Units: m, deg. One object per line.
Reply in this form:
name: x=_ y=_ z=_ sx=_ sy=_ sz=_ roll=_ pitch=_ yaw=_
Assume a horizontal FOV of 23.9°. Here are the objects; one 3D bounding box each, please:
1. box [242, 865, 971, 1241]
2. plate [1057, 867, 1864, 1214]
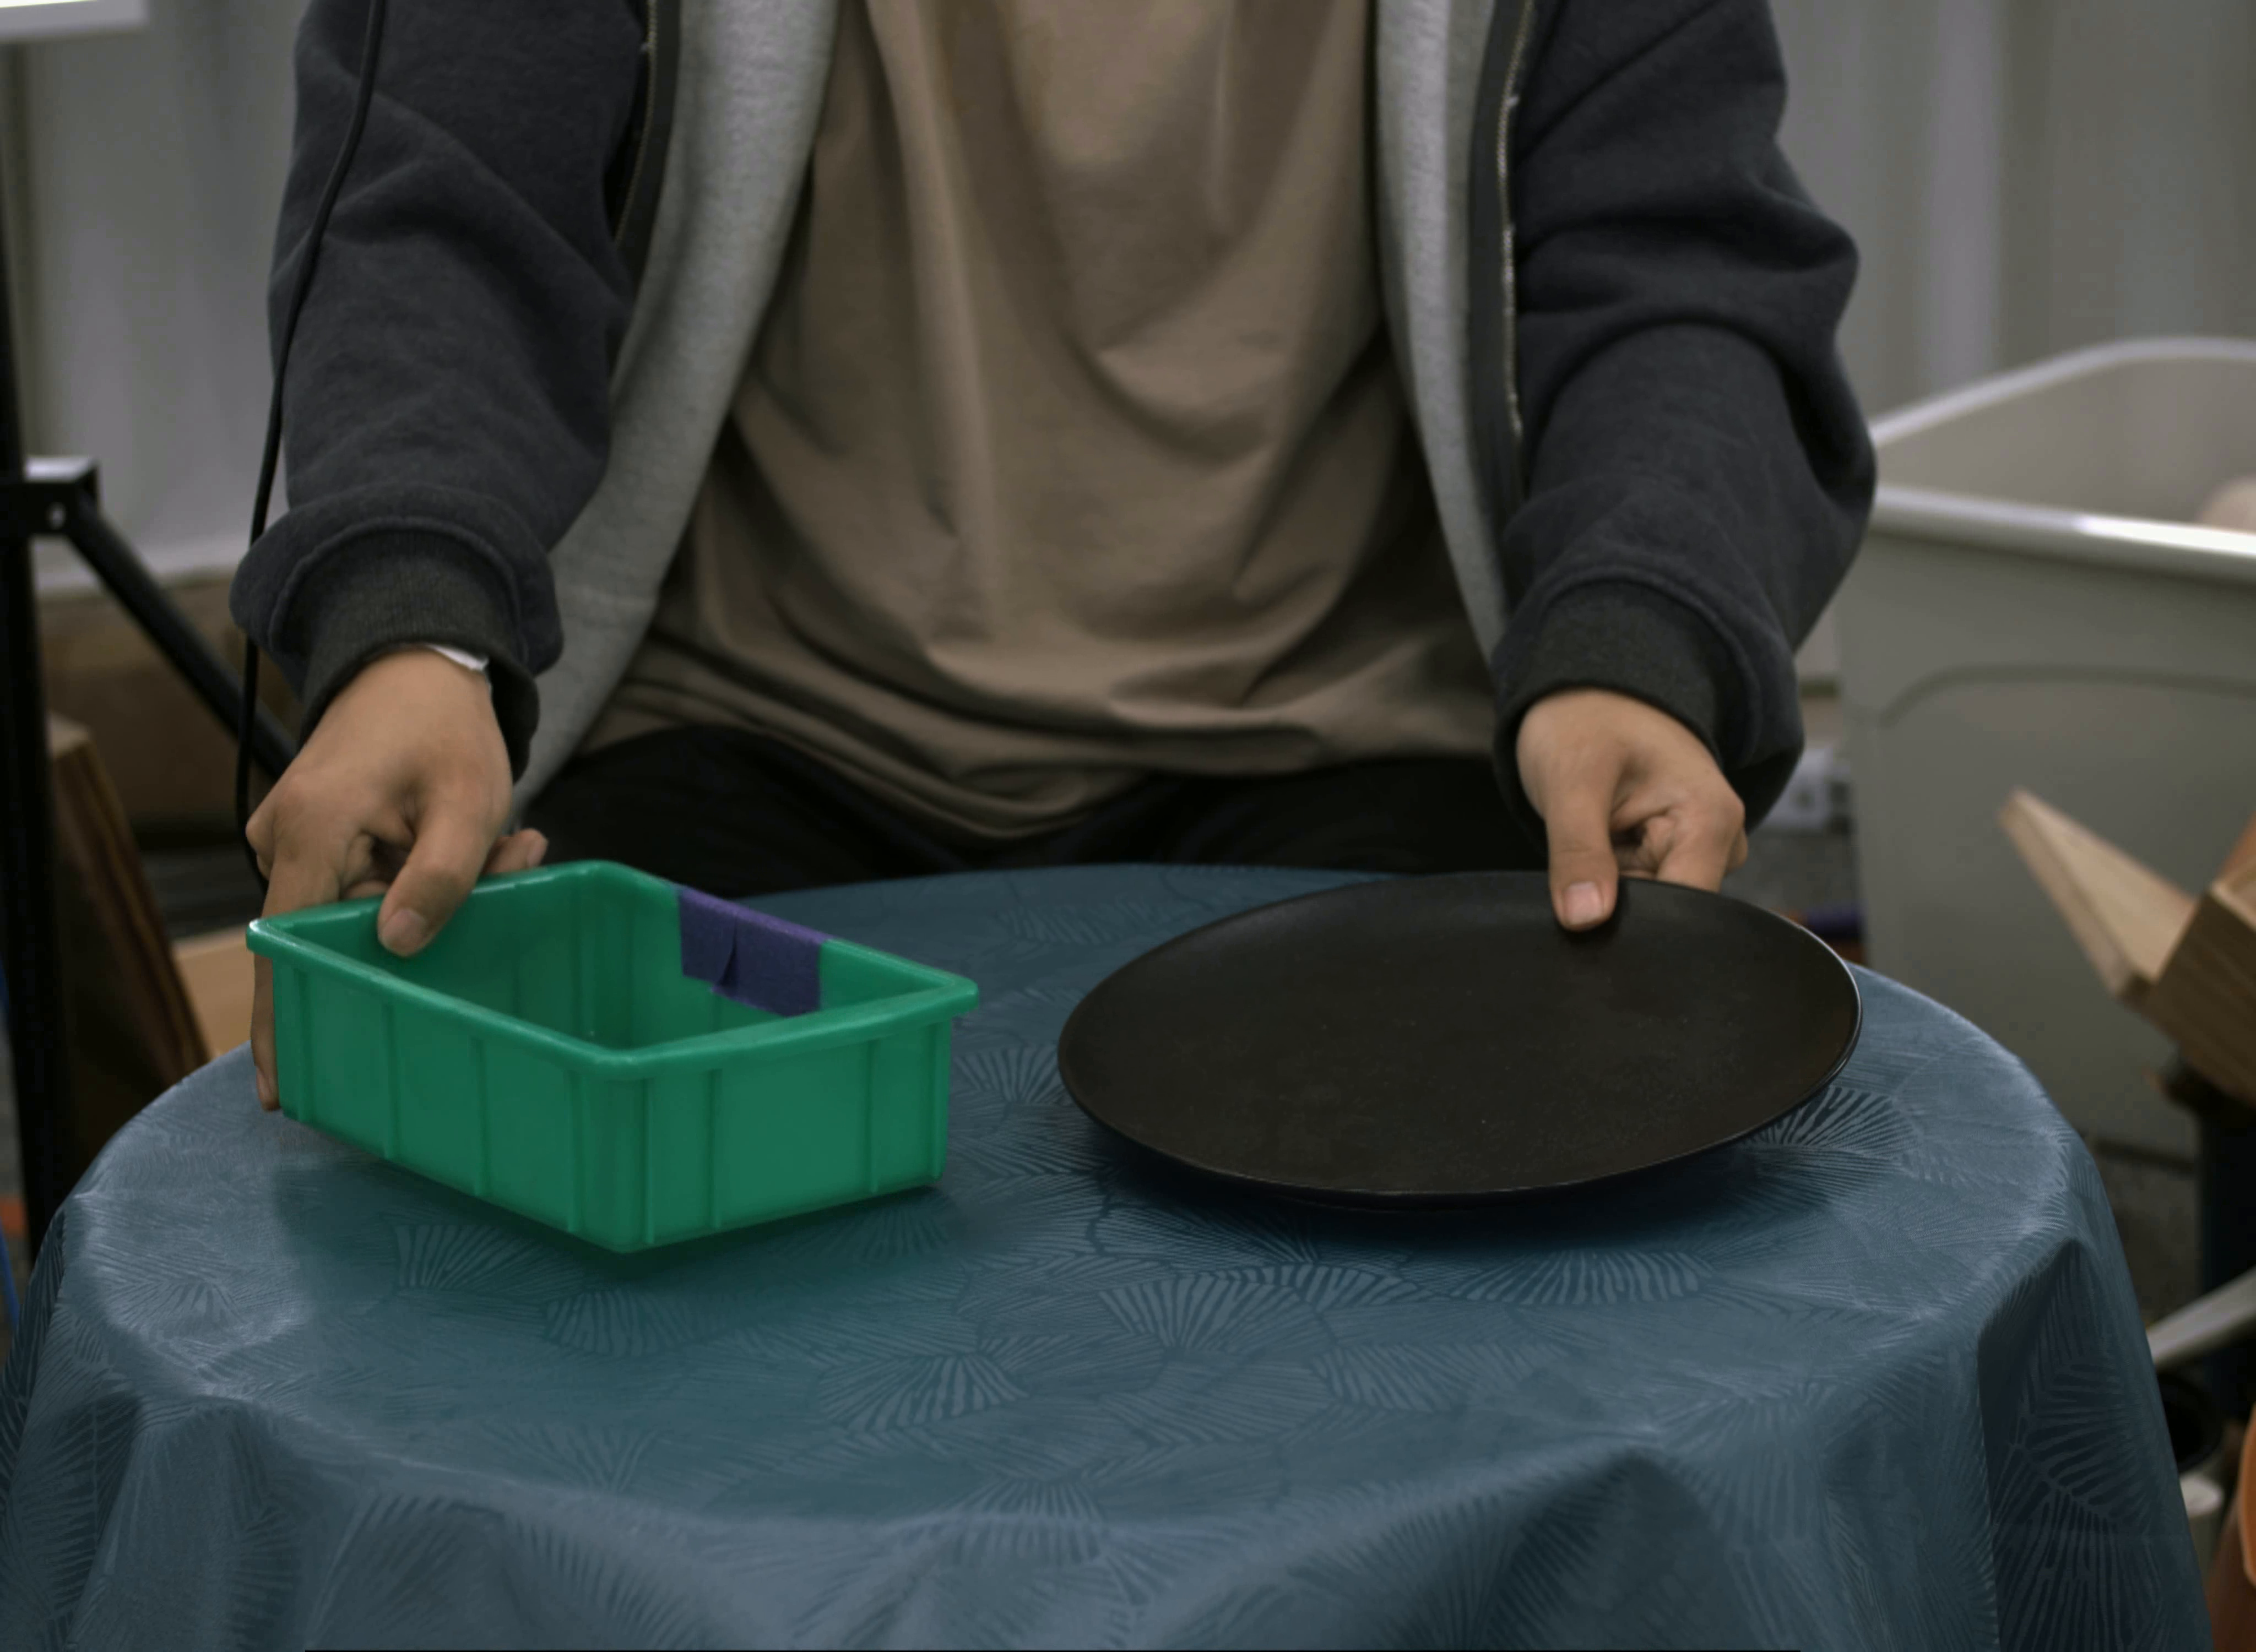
box: x=-0.158 y=0.066 z=1.597 sx=0.135 sy=0.065 sz=0.215 roll=-9 pitch=14 yaw=-40
plate: x=0.100 y=0.069 z=1.607 sx=0.243 sy=0.023 sz=0.246 roll=-6 pitch=21 yaw=1
